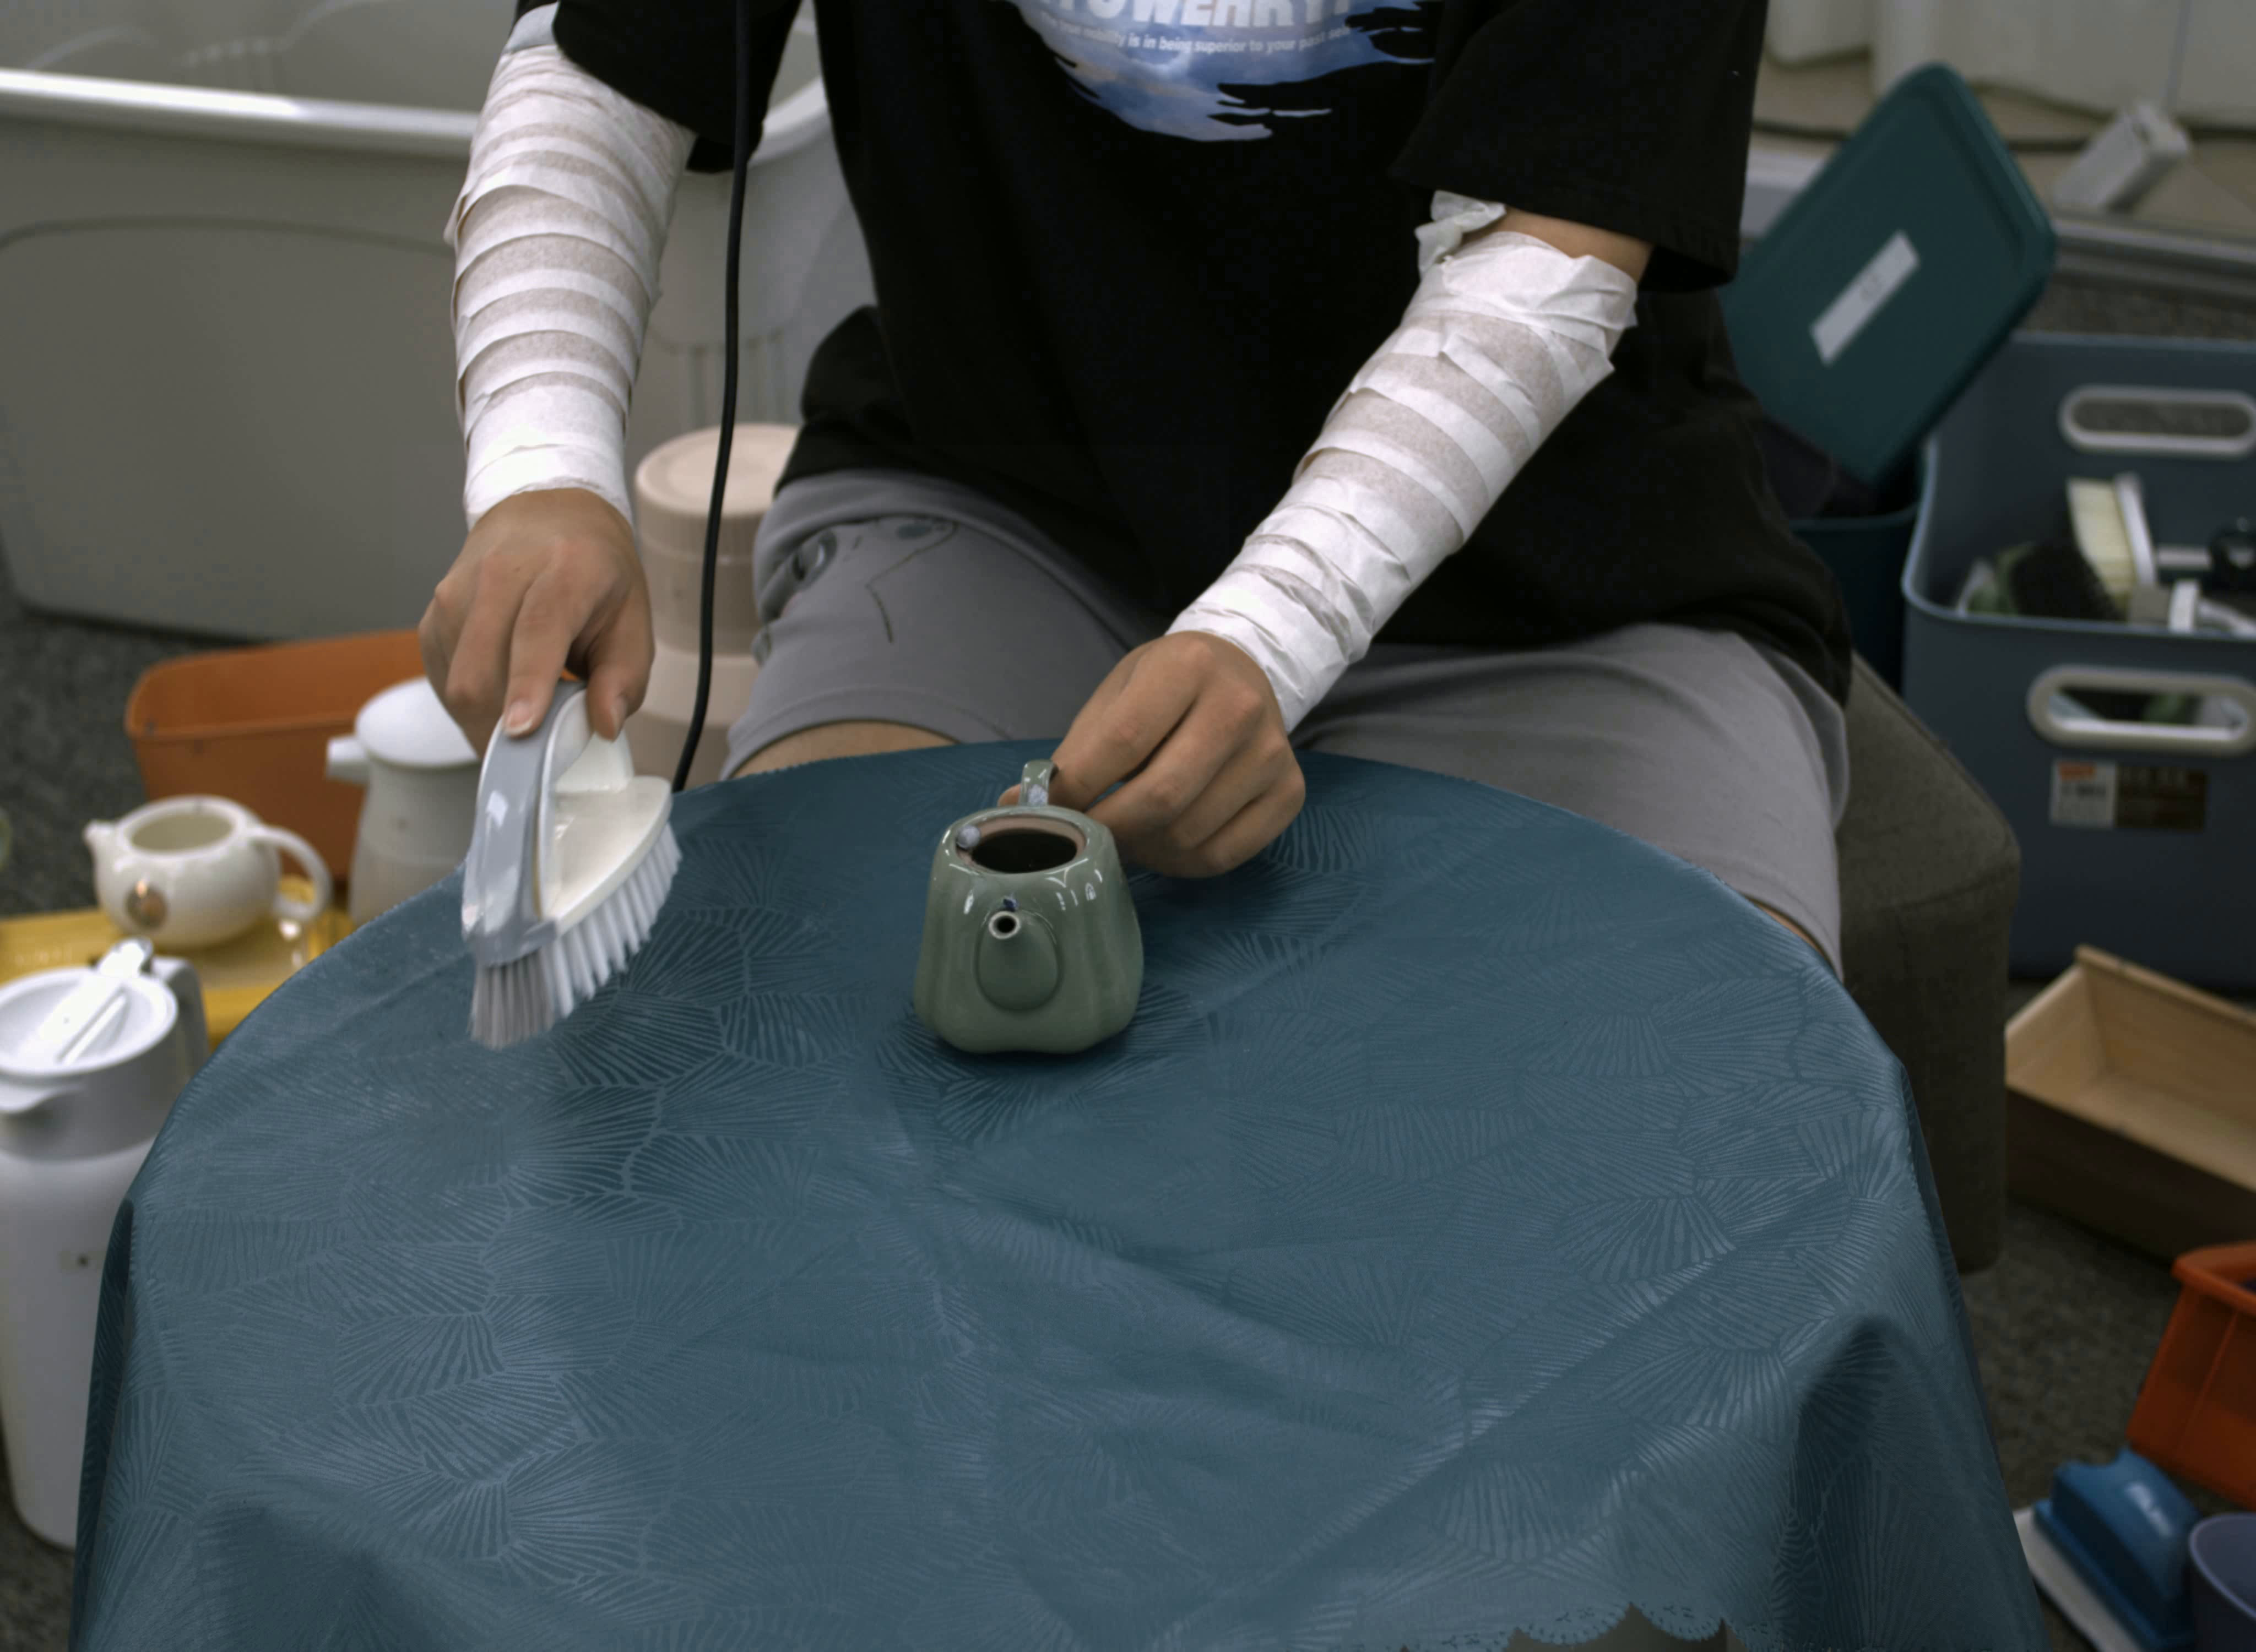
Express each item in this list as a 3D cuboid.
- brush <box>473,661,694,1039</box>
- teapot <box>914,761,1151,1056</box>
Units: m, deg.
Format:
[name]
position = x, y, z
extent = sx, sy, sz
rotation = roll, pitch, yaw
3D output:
[brush]
position = -0.197, 0.002, 1.934
extent = 0.061, 0.093, 0.178
rotation = -8, 20, 11
[teapot]
position = -0.033, 0.034, 1.957
extent = 0.079, 0.074, 0.134
rotation = 3, 26, 8
